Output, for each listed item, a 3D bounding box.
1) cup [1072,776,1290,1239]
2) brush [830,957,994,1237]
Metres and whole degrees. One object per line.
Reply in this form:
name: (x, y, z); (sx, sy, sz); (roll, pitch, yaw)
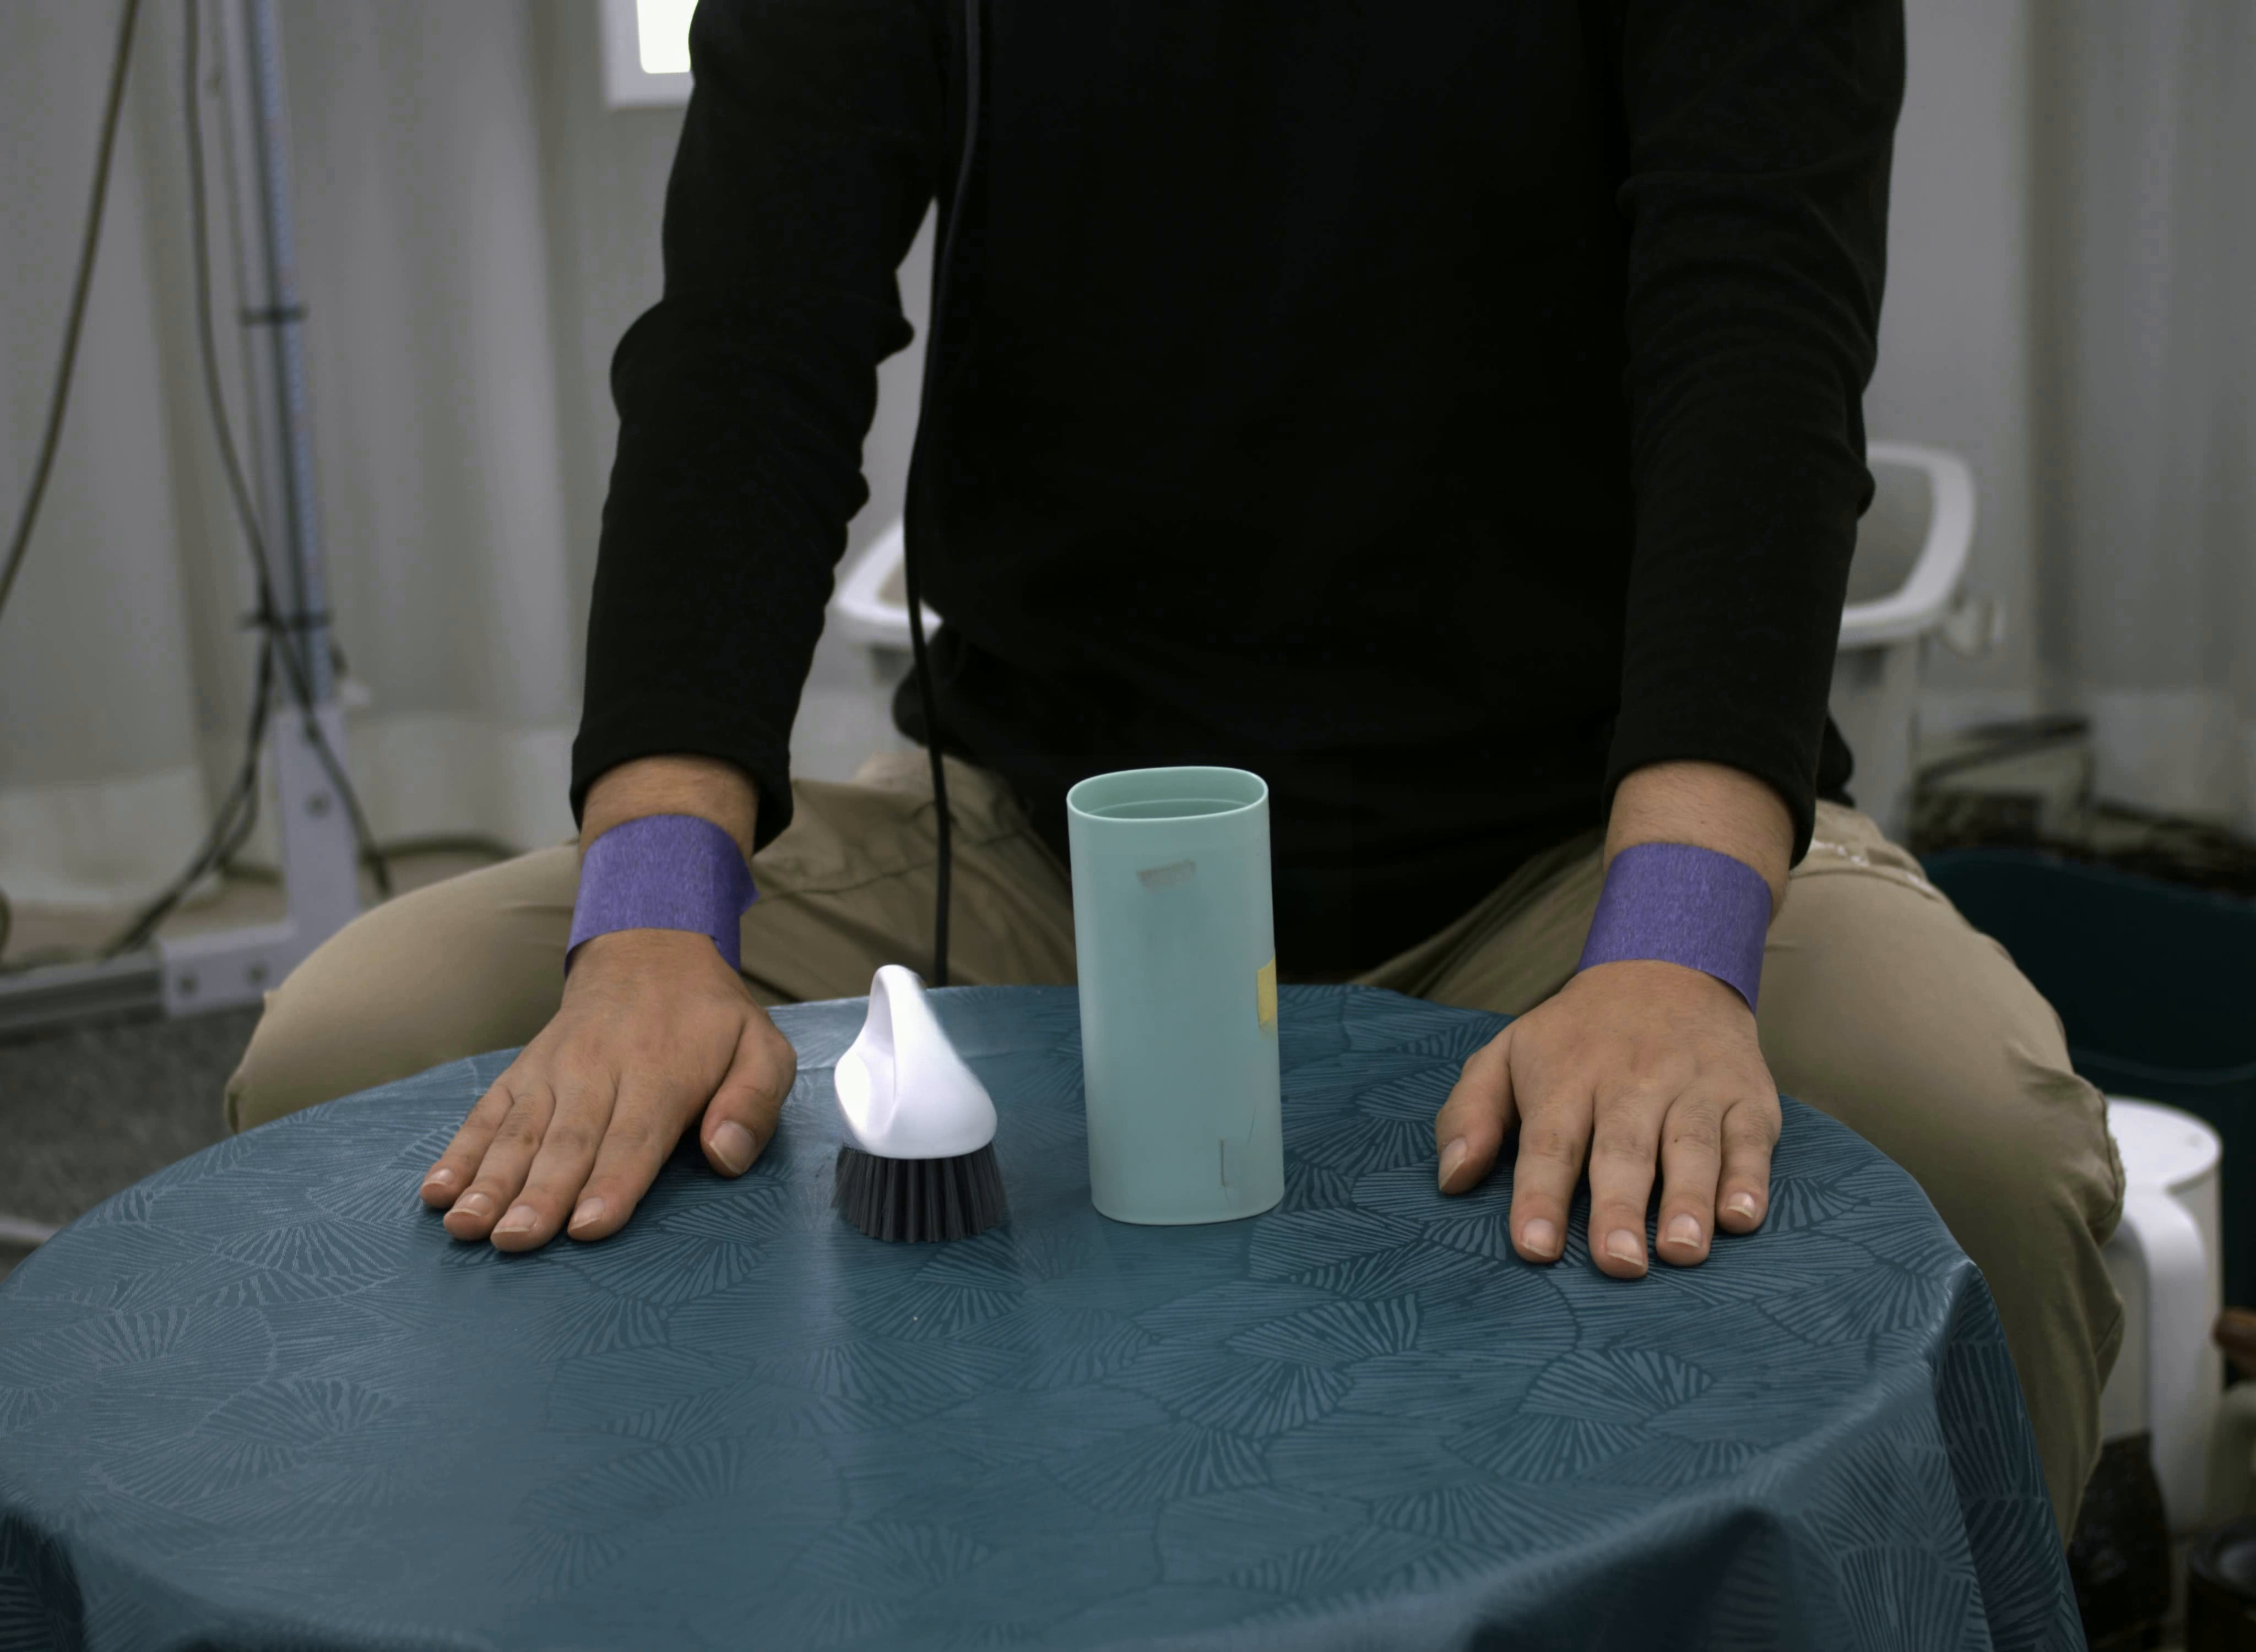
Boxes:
cup: (0.016, 0.056, 1.696); (0.066, 0.132, 0.067); (-3, 14, 1)
brush: (-0.069, 0.080, 1.715); (0.050, 0.072, 0.100); (-3, 16, -6)
